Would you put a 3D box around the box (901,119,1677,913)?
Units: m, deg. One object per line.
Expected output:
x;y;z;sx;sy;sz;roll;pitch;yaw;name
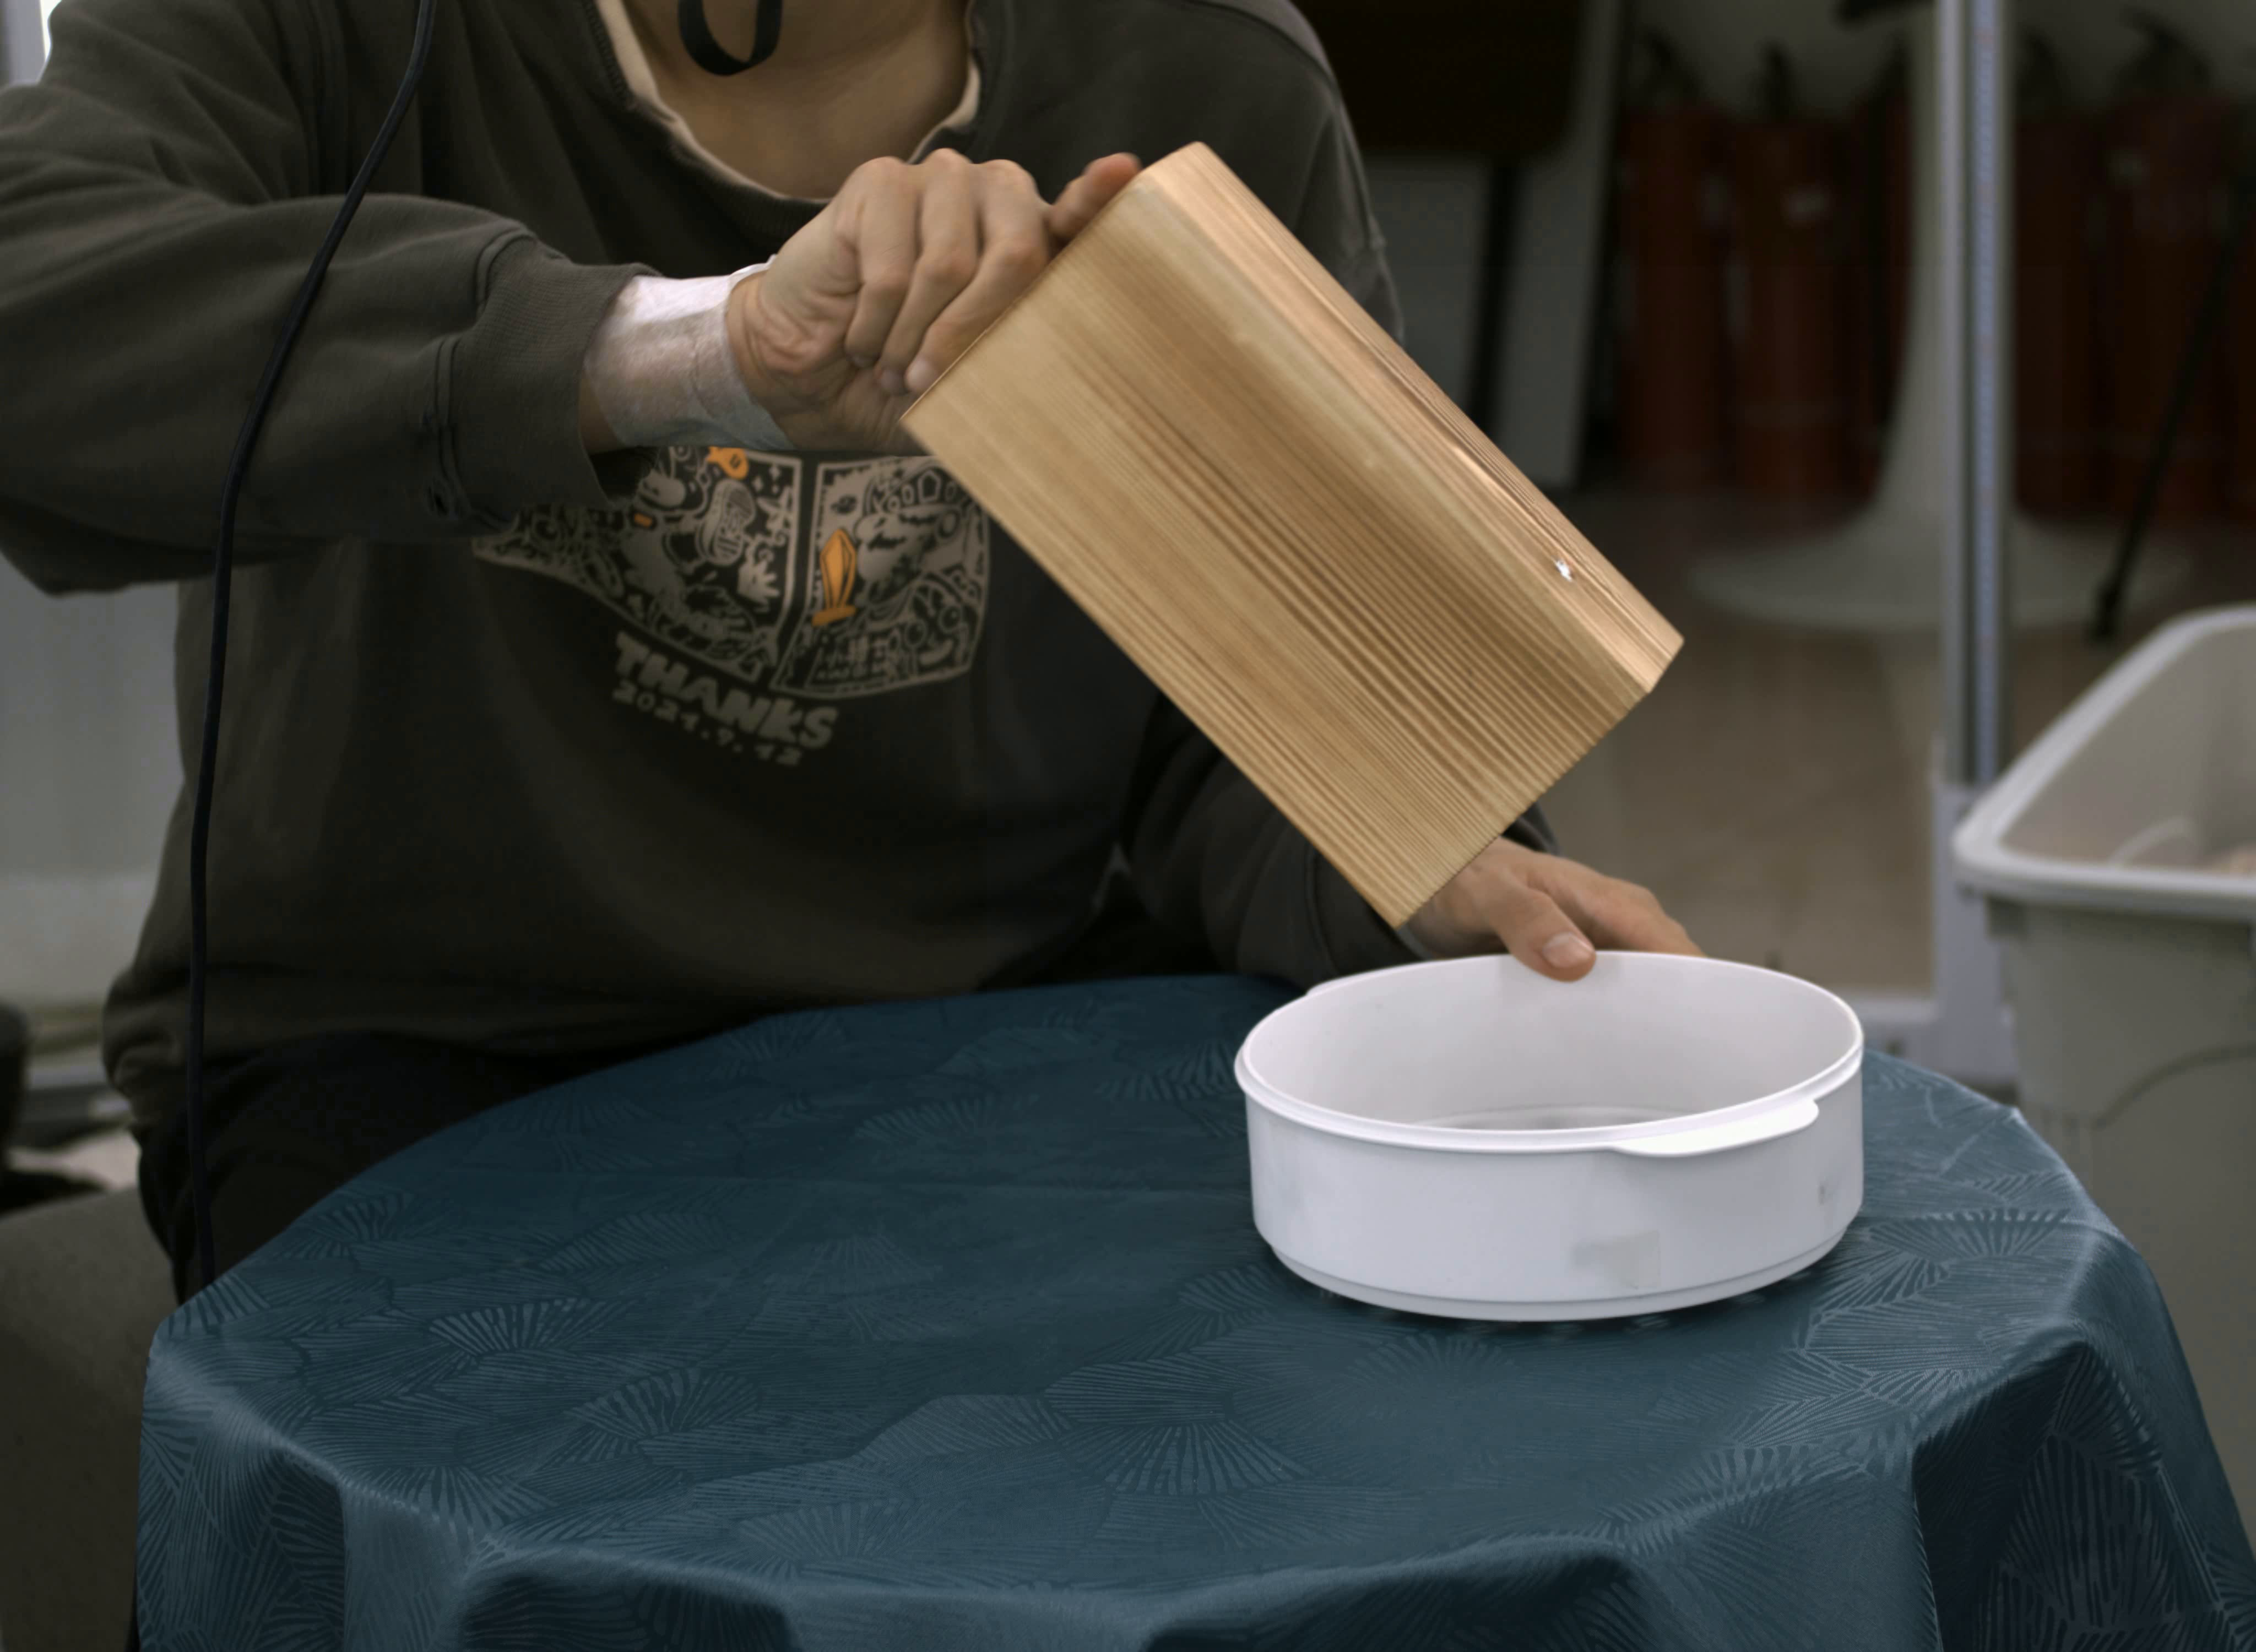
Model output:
0.049;-0.093;1.589;0.108;0.212;0.079;-44;-3;17;box

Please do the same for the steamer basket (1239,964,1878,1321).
0.136;0.099;1.684;0.197;0.070;0.233;-10;13;-24;steamer basket
